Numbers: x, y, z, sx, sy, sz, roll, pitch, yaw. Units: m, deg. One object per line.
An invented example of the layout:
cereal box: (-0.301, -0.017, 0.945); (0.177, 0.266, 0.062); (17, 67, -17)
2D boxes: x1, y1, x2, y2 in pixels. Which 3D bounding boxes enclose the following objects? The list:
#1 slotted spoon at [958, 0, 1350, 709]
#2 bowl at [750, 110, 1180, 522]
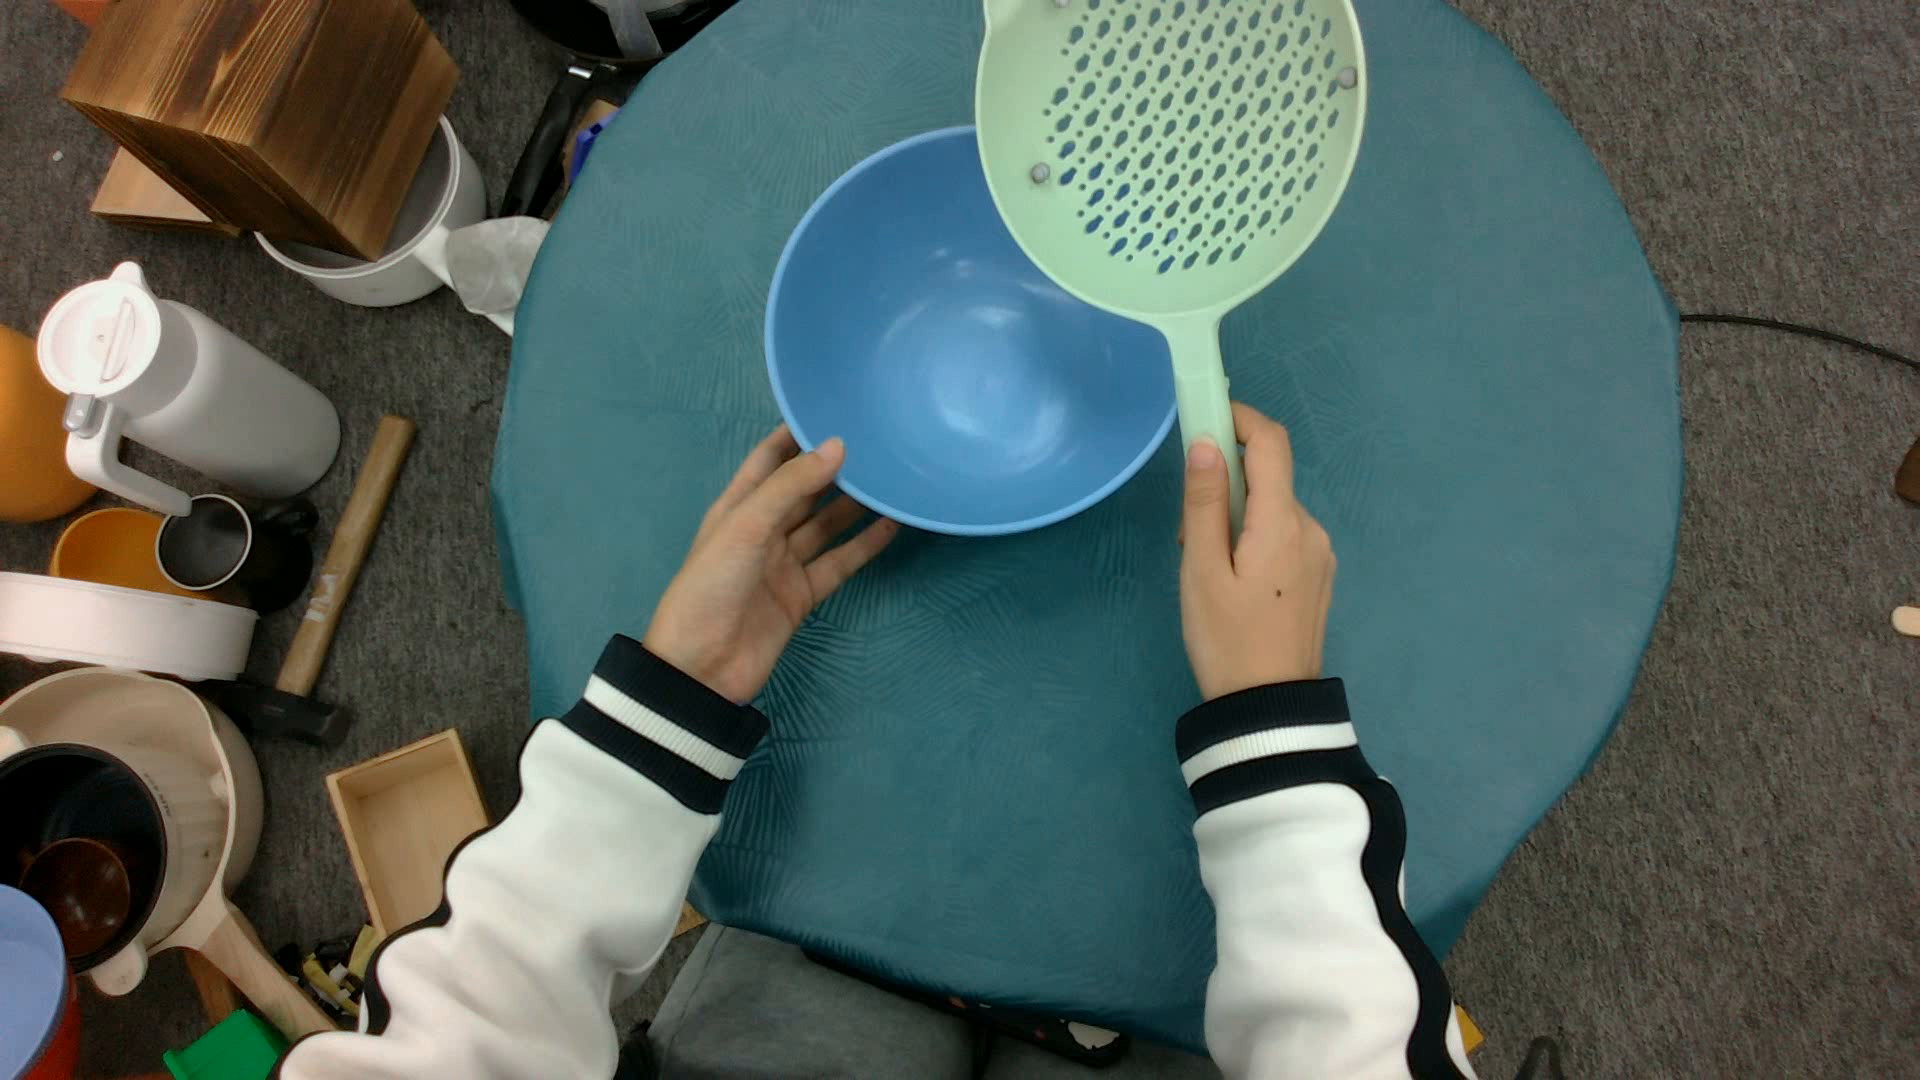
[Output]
slotted spoon: (0.098, -0.091, 0.598); (0.169, 0.075, 0.358); (-3, 97, 31)
bowl: (0.005, -0.094, 0.661); (0.196, 0.095, 0.197); (0, 77, 2)
